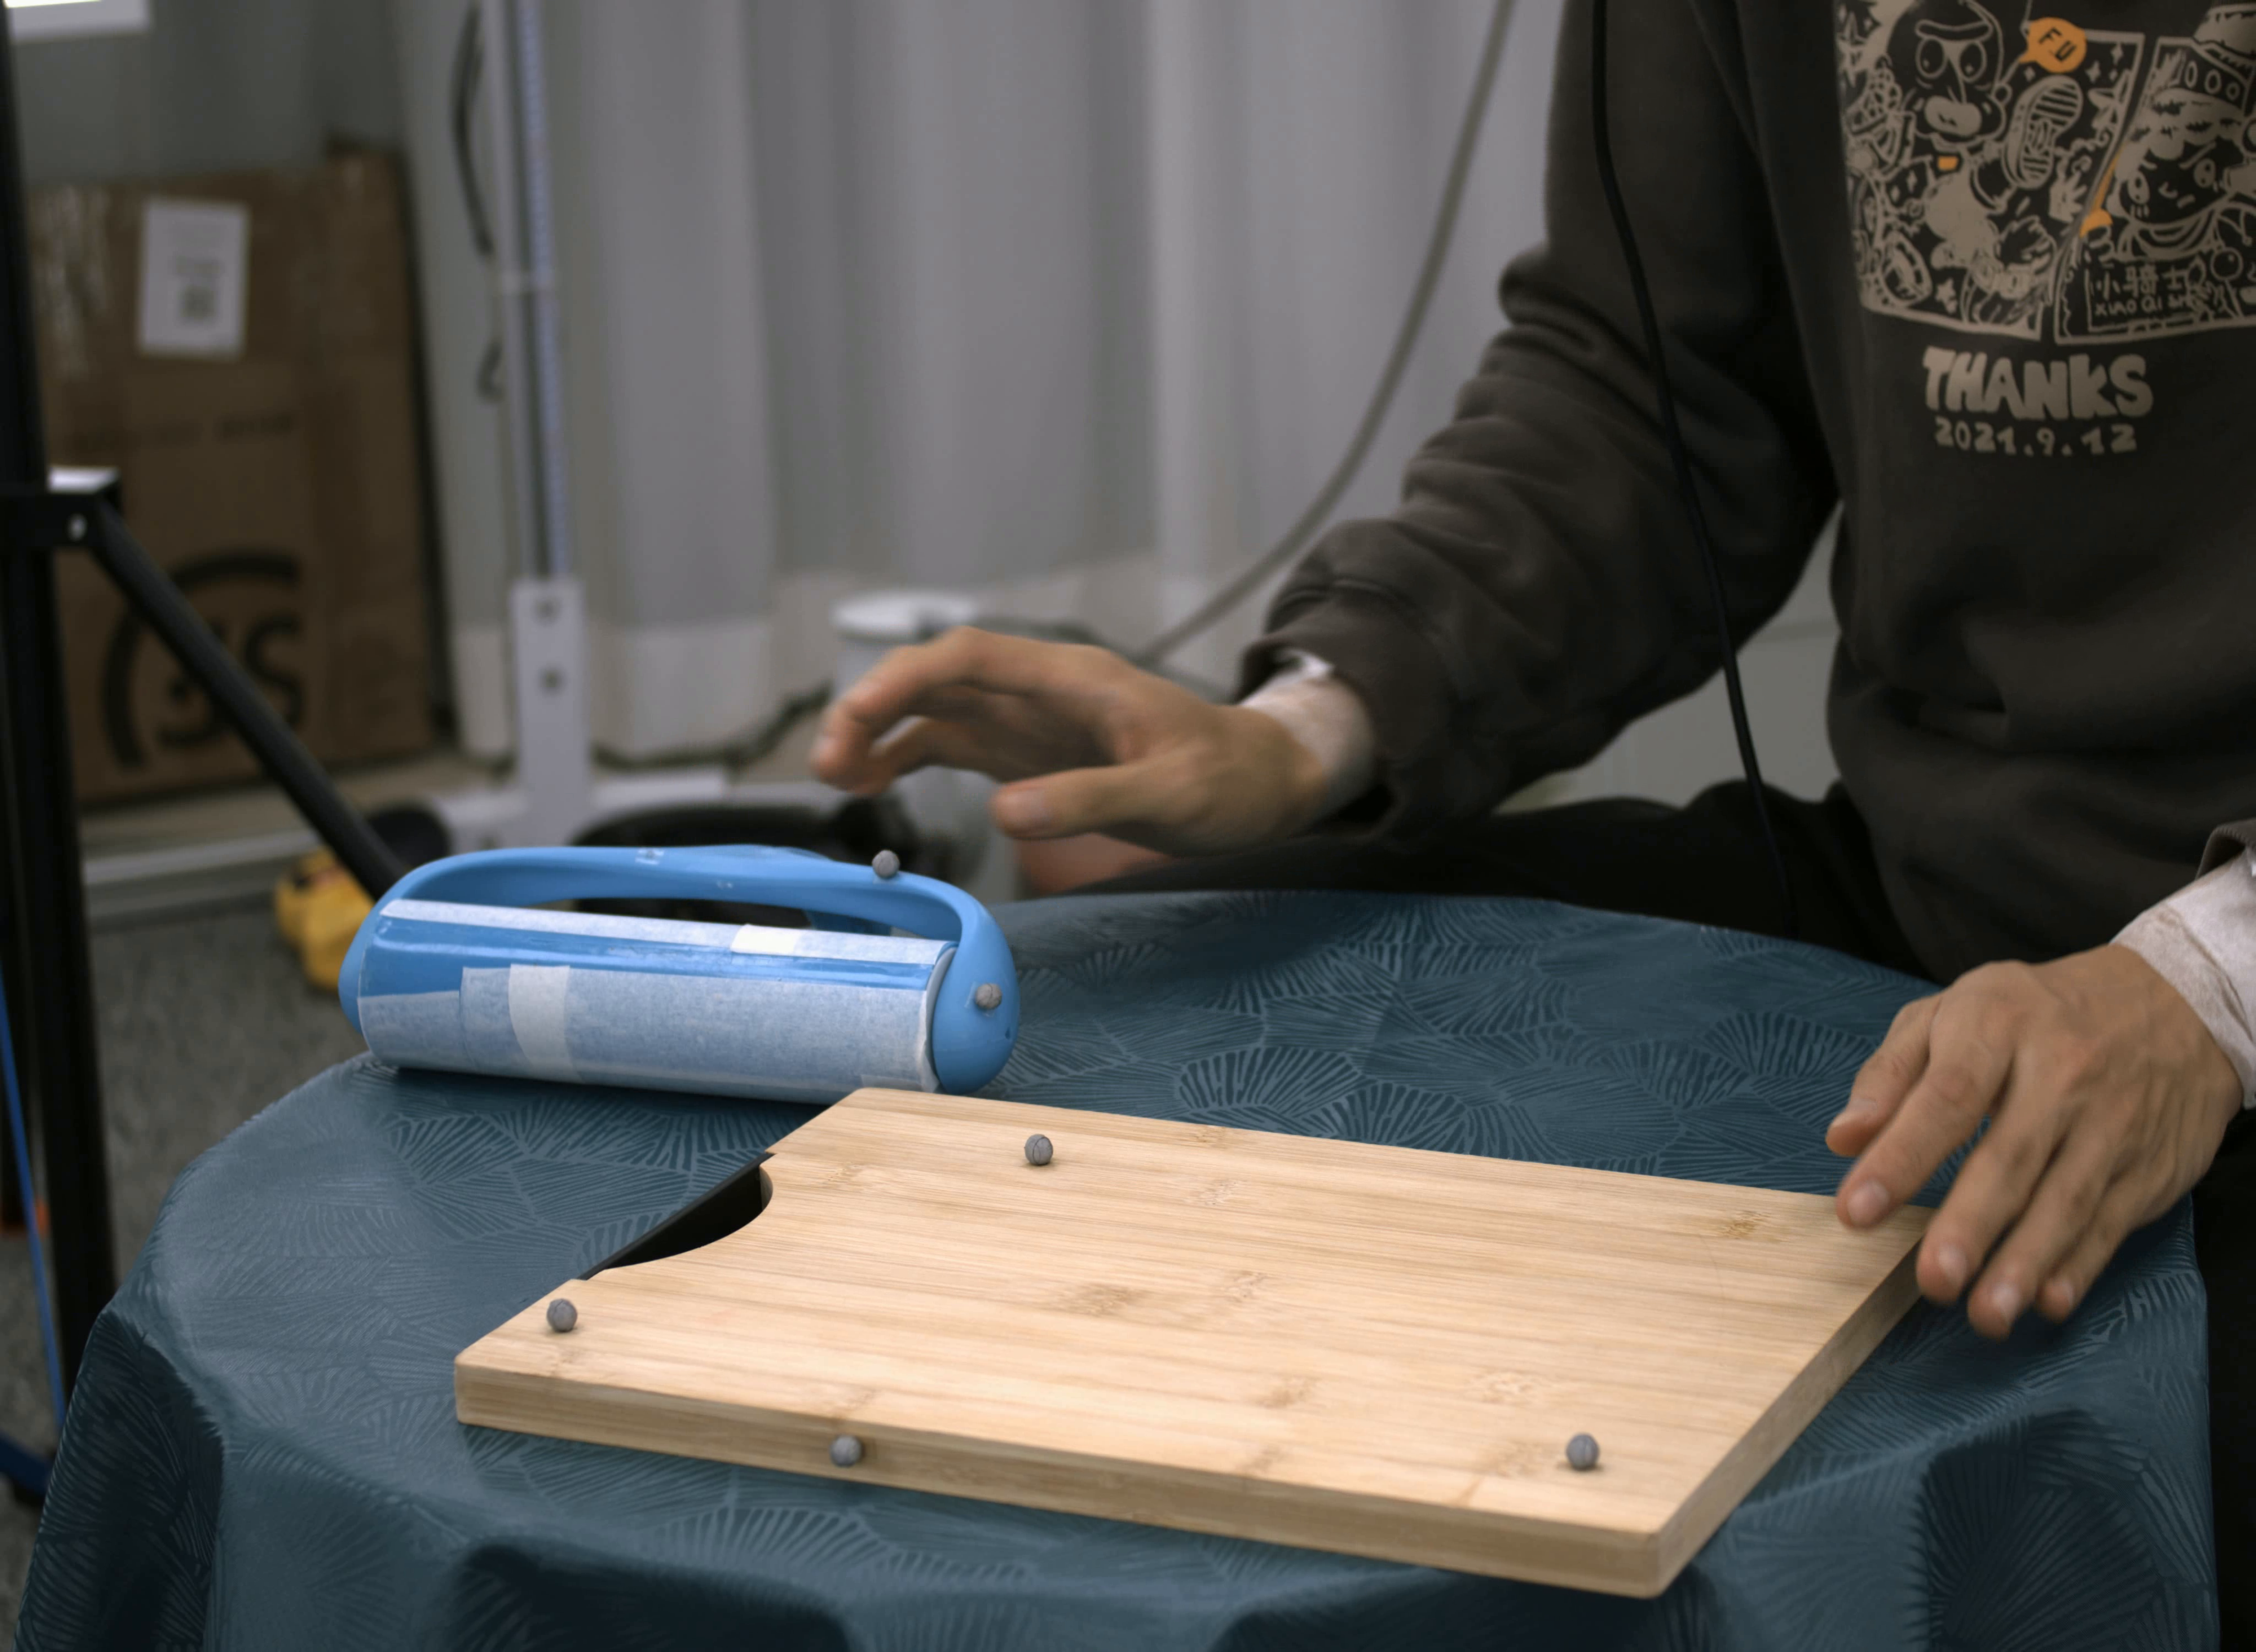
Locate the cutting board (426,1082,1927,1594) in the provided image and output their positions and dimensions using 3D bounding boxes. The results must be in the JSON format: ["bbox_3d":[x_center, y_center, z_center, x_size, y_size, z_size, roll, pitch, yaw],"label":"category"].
[{"bbox_3d":[0.018,0.133,1.443,0.354,0.023,0.247,5,17,25],"label":"cutting board"}]

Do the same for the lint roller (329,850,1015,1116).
[{"bbox_3d":[-0.128,0.039,1.723,0.231,0.068,0.178,2,17,18],"label":"lint roller"}]
